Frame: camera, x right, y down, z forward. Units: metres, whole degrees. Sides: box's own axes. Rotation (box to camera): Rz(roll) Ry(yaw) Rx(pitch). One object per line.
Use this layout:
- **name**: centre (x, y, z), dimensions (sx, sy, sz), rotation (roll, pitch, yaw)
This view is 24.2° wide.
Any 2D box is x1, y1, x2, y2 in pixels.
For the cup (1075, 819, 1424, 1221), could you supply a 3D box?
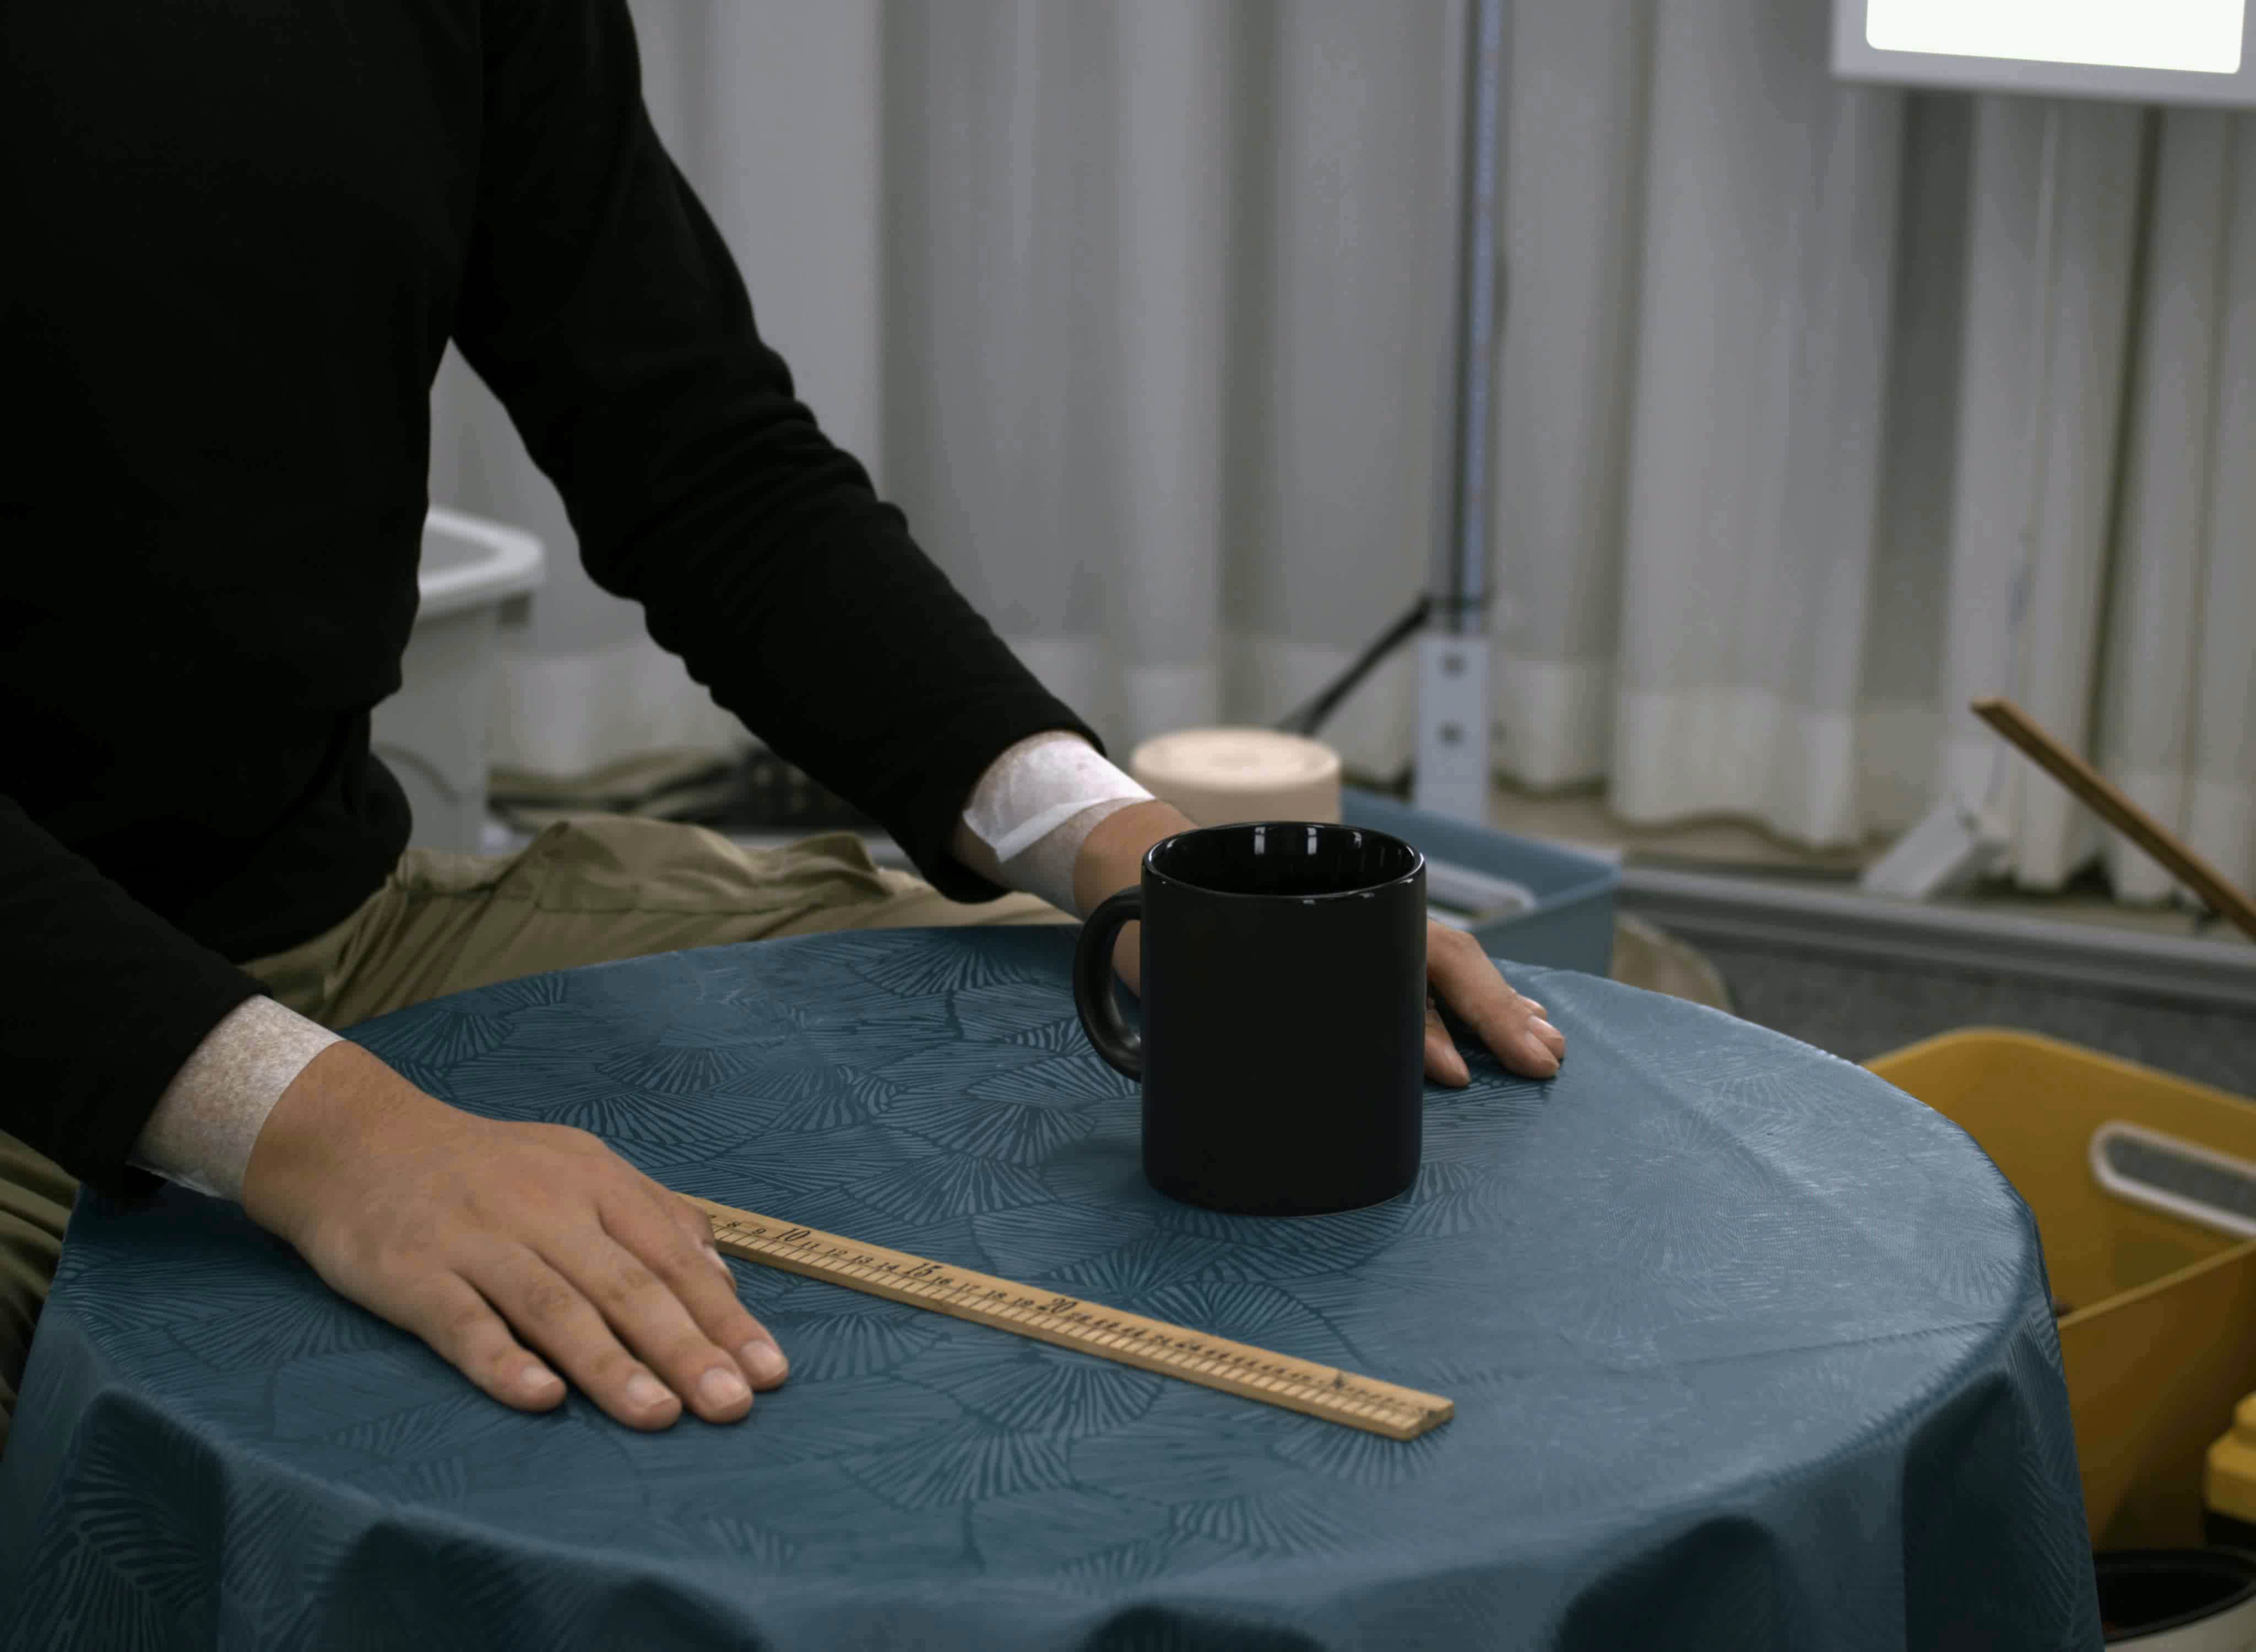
- **cup**: centre (0.034, 0.056, 1.634), dimensions (0.122, 0.106, 0.089), rotation (12, 21, 37)

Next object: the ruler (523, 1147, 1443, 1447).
- **ruler**: centre (-0.050, 0.132, 1.528), dimensions (0.327, 0.022, 0.027), rotation (13, 15, 36)
